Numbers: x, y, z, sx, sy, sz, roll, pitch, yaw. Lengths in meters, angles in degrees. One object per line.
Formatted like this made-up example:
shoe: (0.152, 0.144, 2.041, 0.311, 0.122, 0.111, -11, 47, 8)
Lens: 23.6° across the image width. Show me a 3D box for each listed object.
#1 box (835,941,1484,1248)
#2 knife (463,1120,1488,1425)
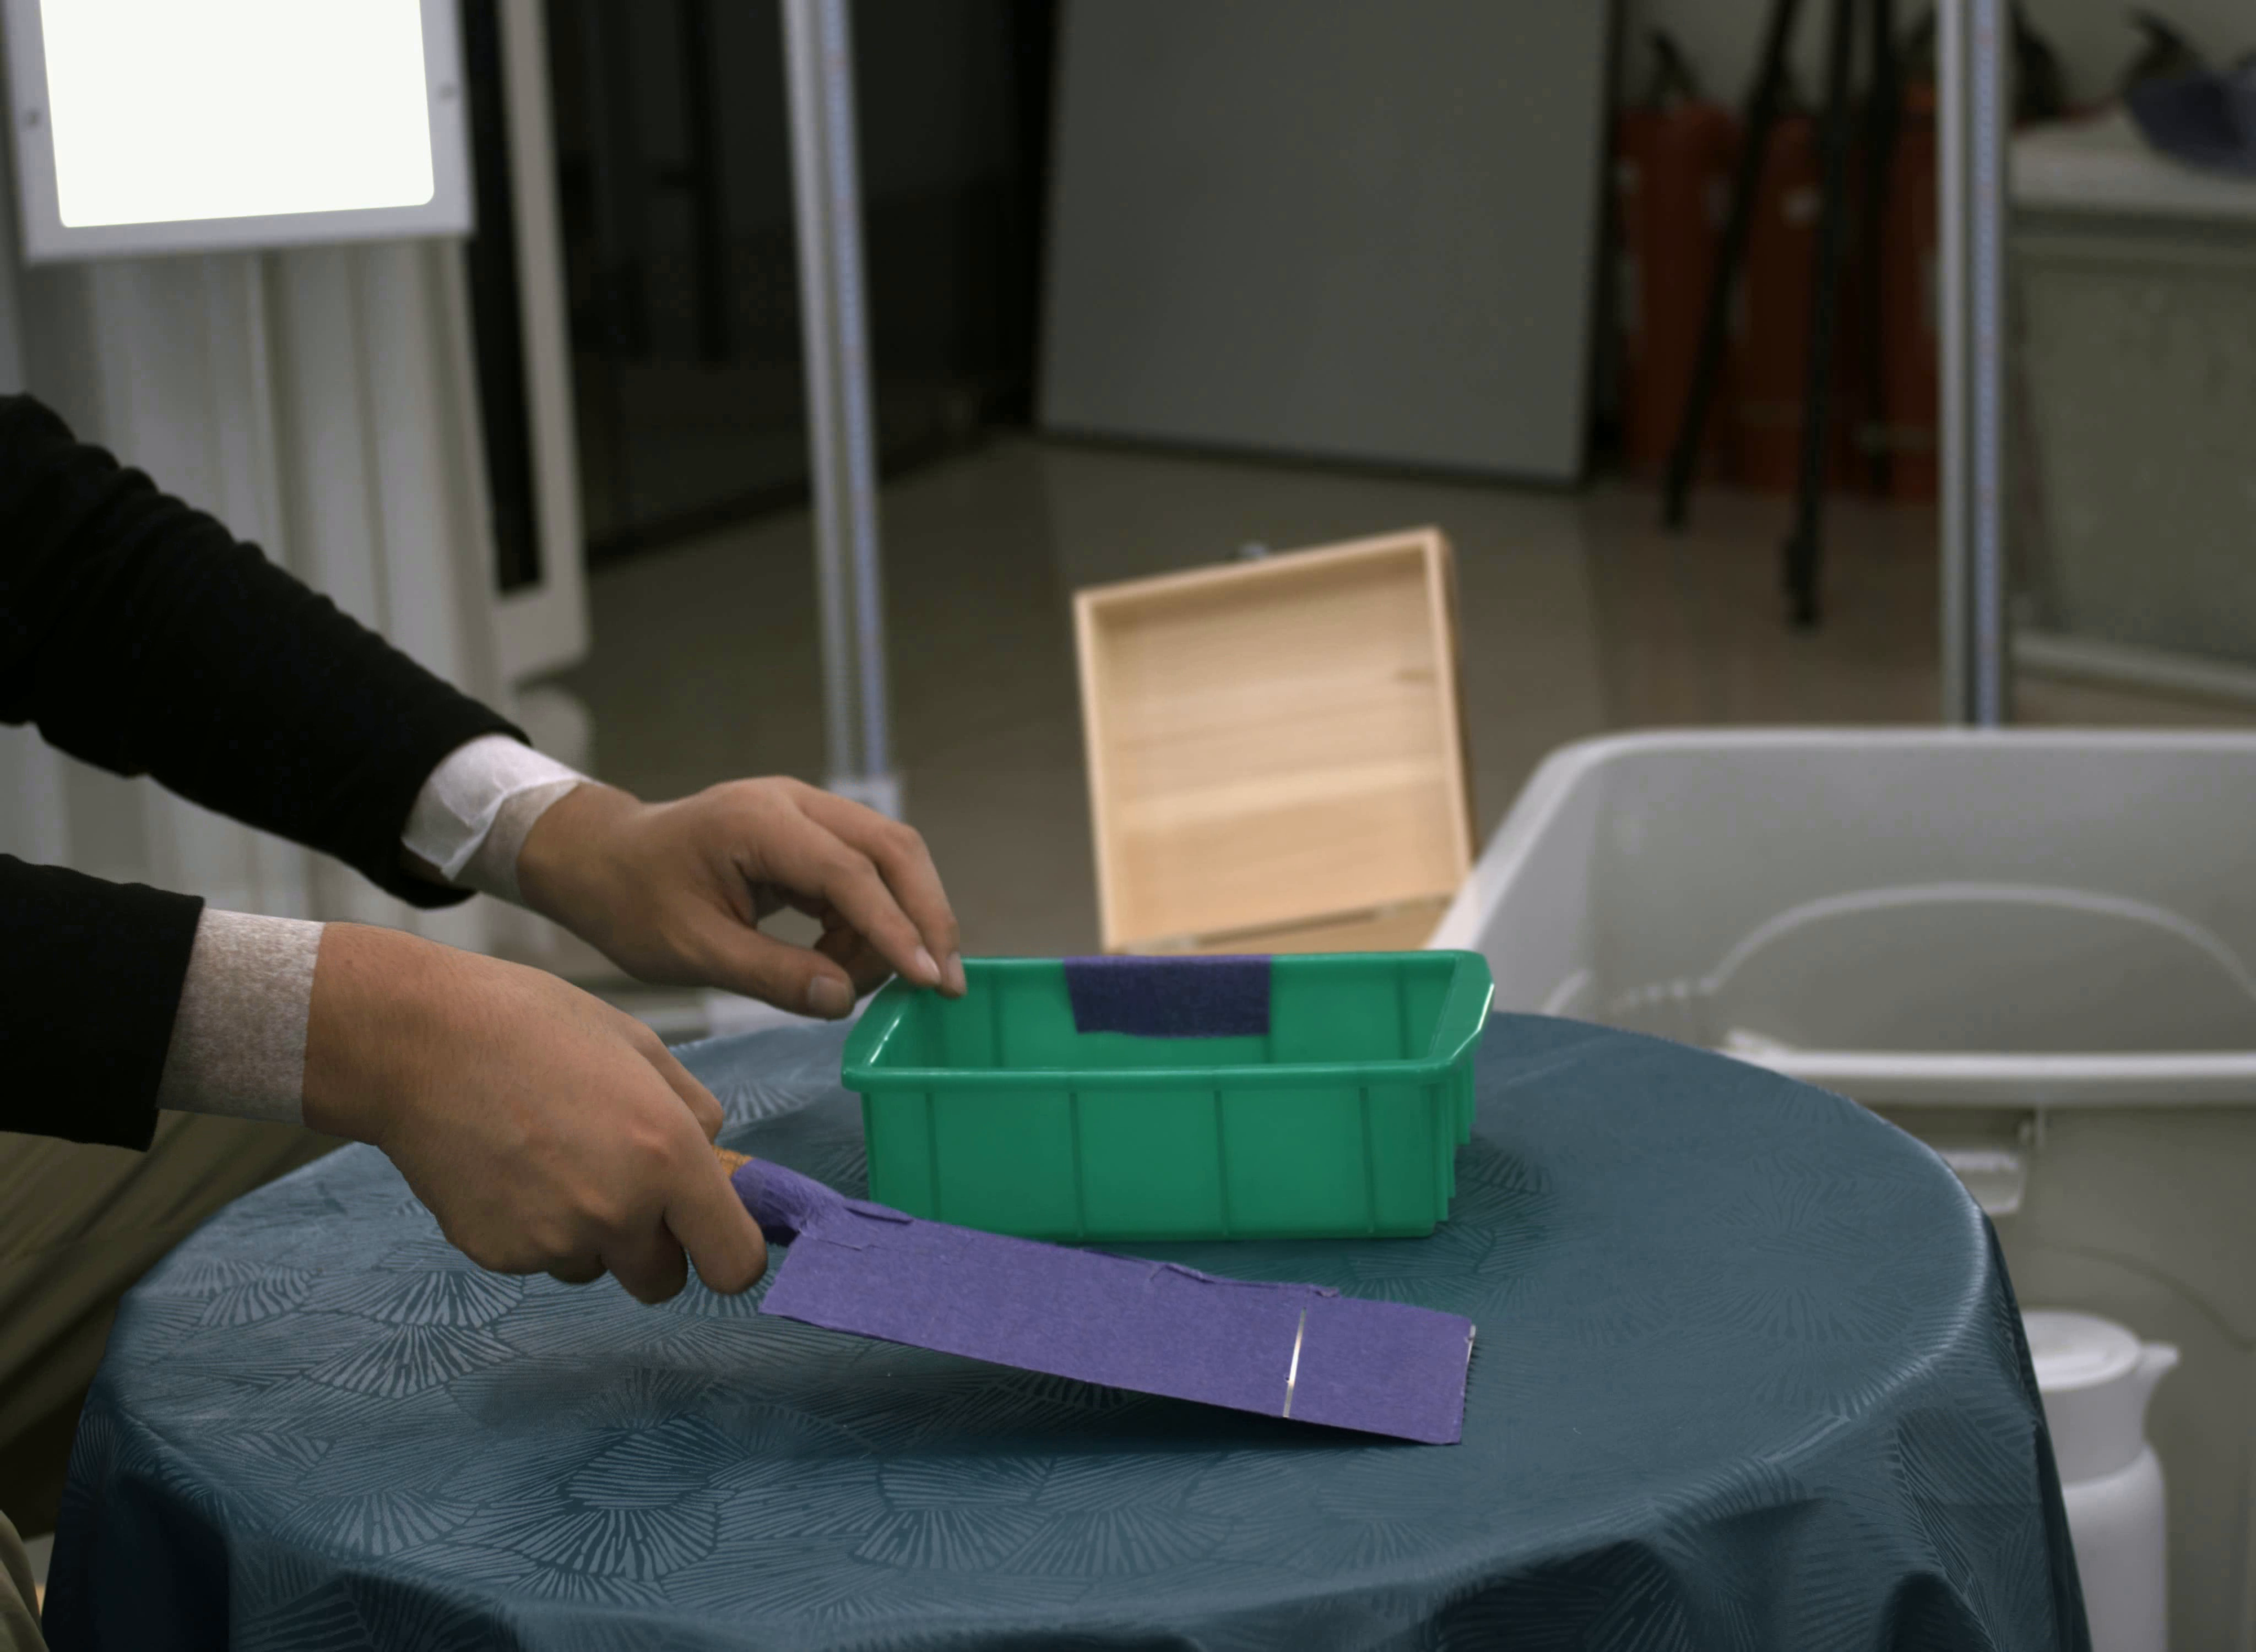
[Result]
box: (0.014, 0.089, 1.766, 0.209, 0.066, 0.138, -4, 12, 10)
knife: (-0.049, 0.131, 1.584, 0.312, 0.032, 0.103, 7, 16, 7)
